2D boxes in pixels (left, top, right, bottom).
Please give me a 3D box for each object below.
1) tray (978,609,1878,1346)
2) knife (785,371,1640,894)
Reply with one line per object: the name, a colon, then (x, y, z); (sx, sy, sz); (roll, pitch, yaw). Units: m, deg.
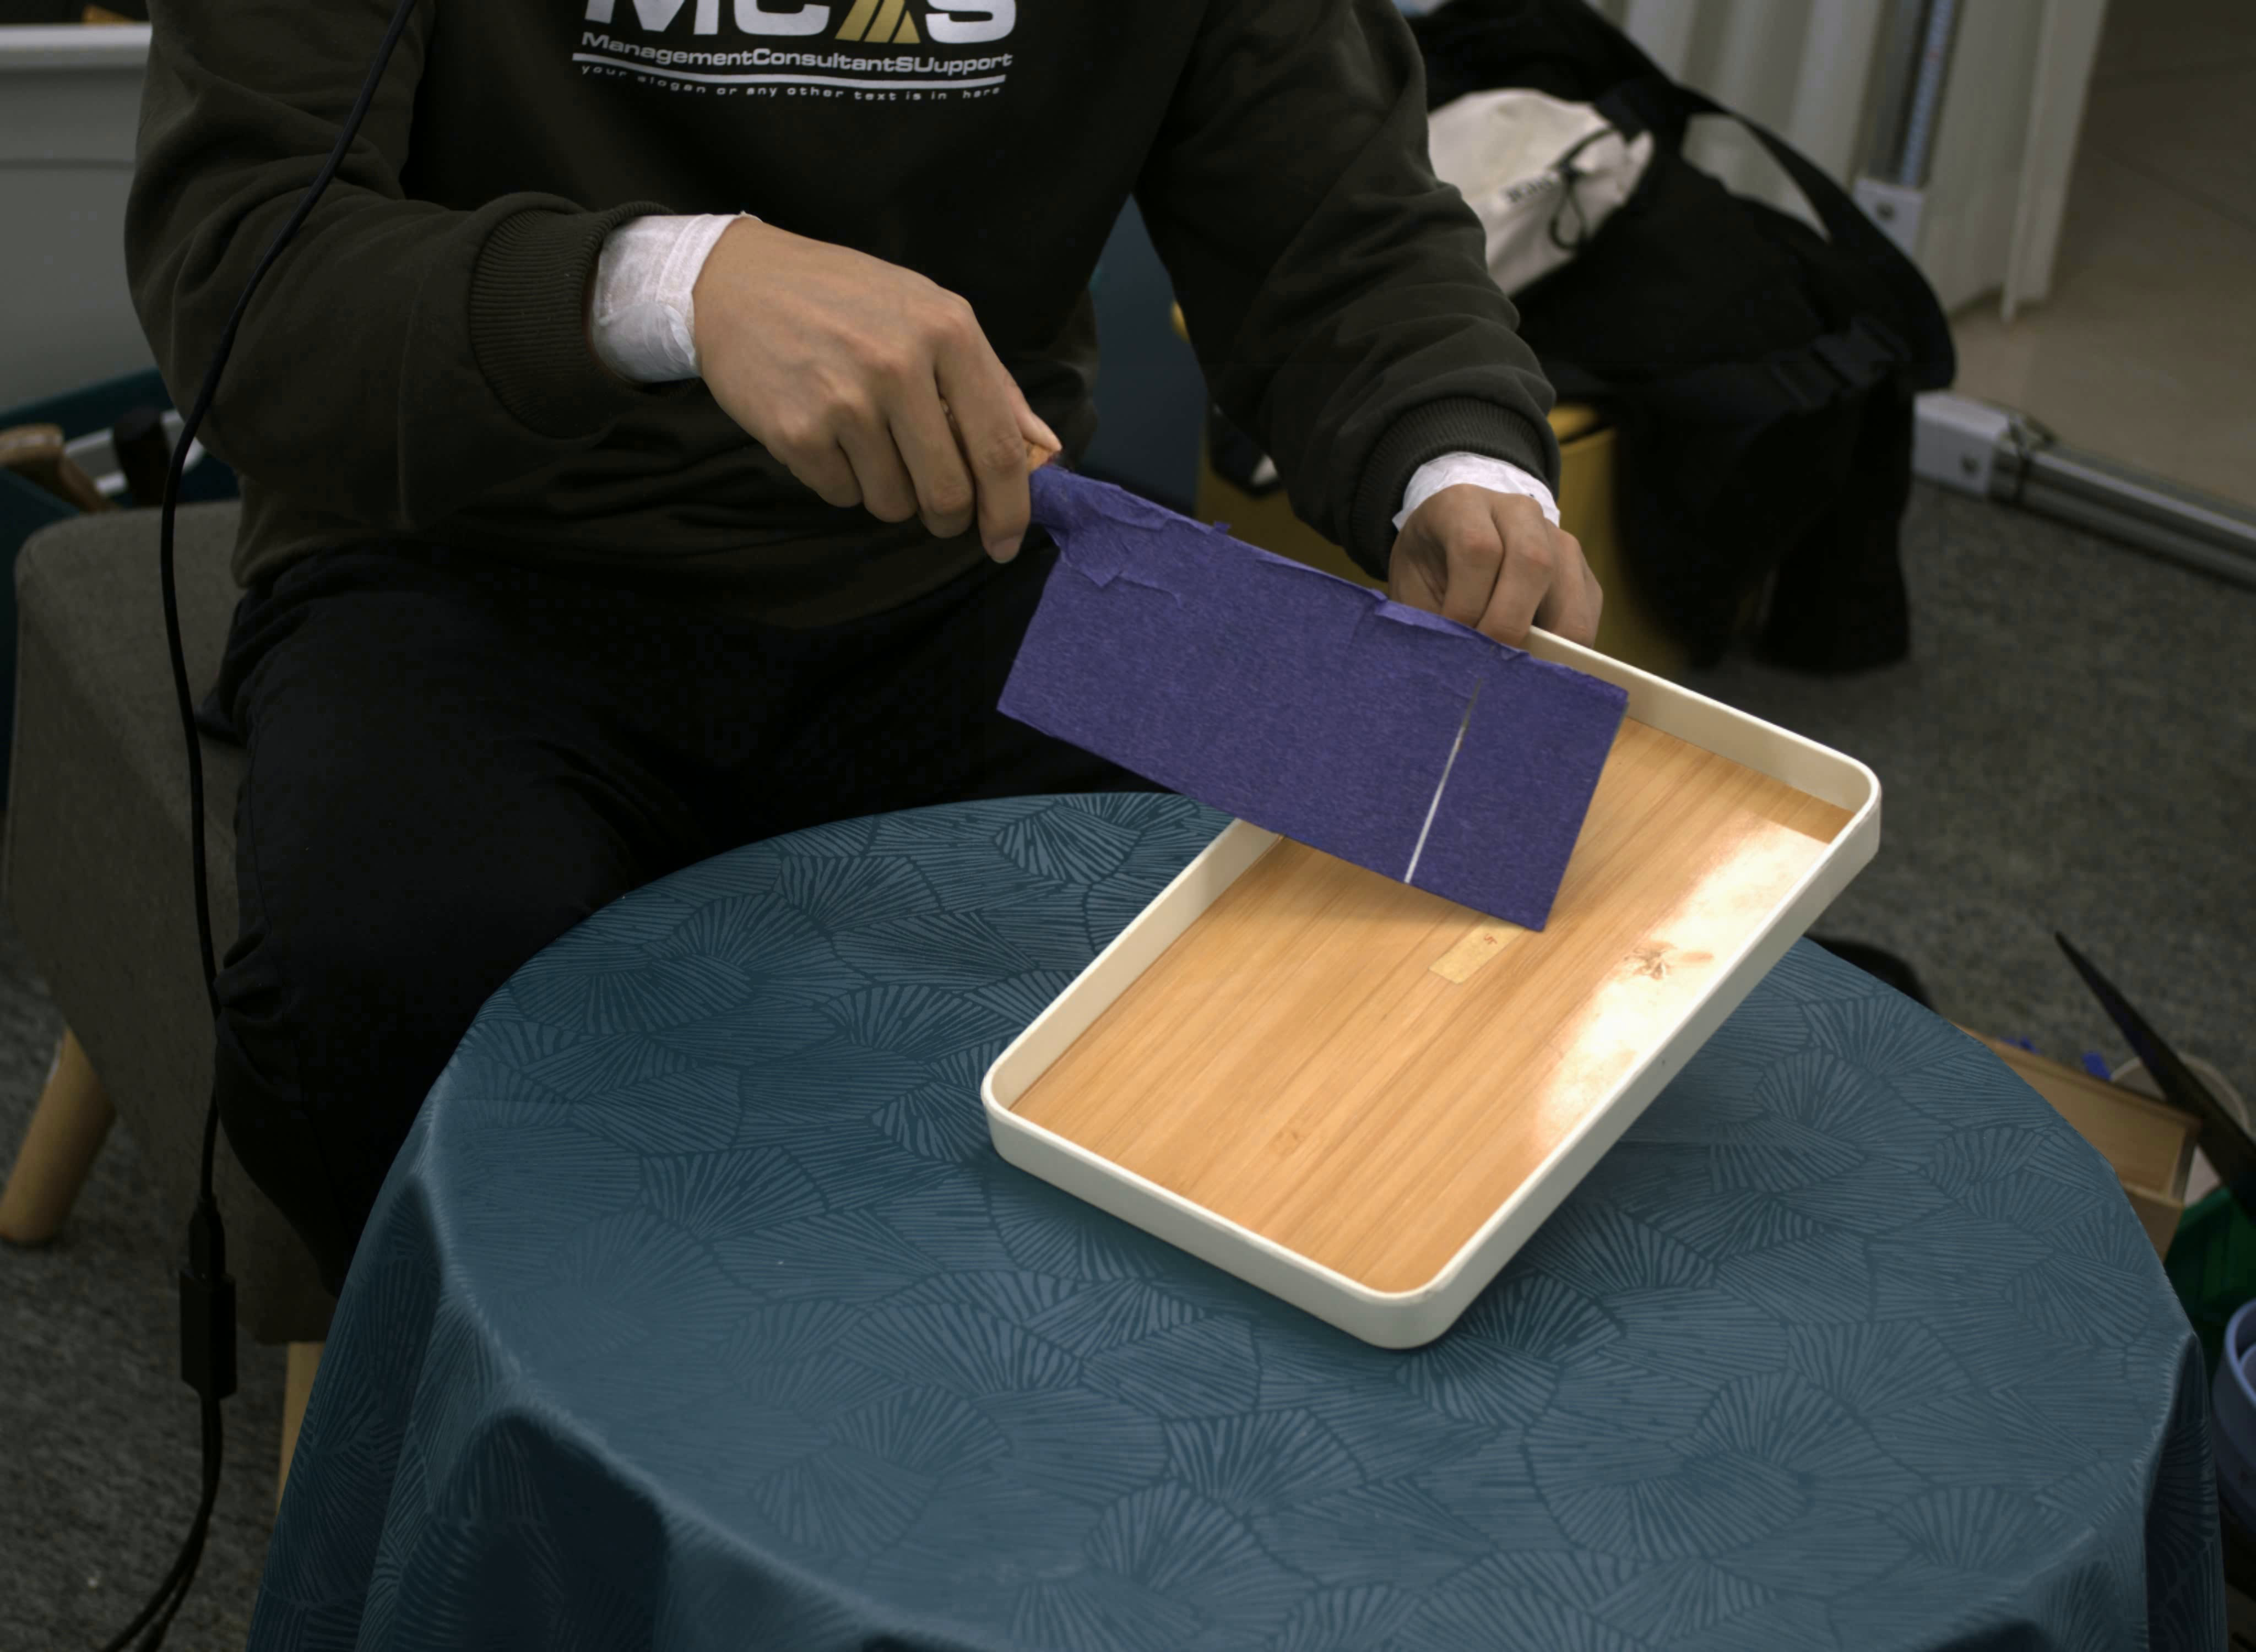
tray: (0.107, 0.046, 1.845); (0.193, 0.027, 0.300); (24, 52, 31)
knife: (0.017, -0.065, 1.865); (0.315, 0.104, 0.032); (21, 0, 6)
